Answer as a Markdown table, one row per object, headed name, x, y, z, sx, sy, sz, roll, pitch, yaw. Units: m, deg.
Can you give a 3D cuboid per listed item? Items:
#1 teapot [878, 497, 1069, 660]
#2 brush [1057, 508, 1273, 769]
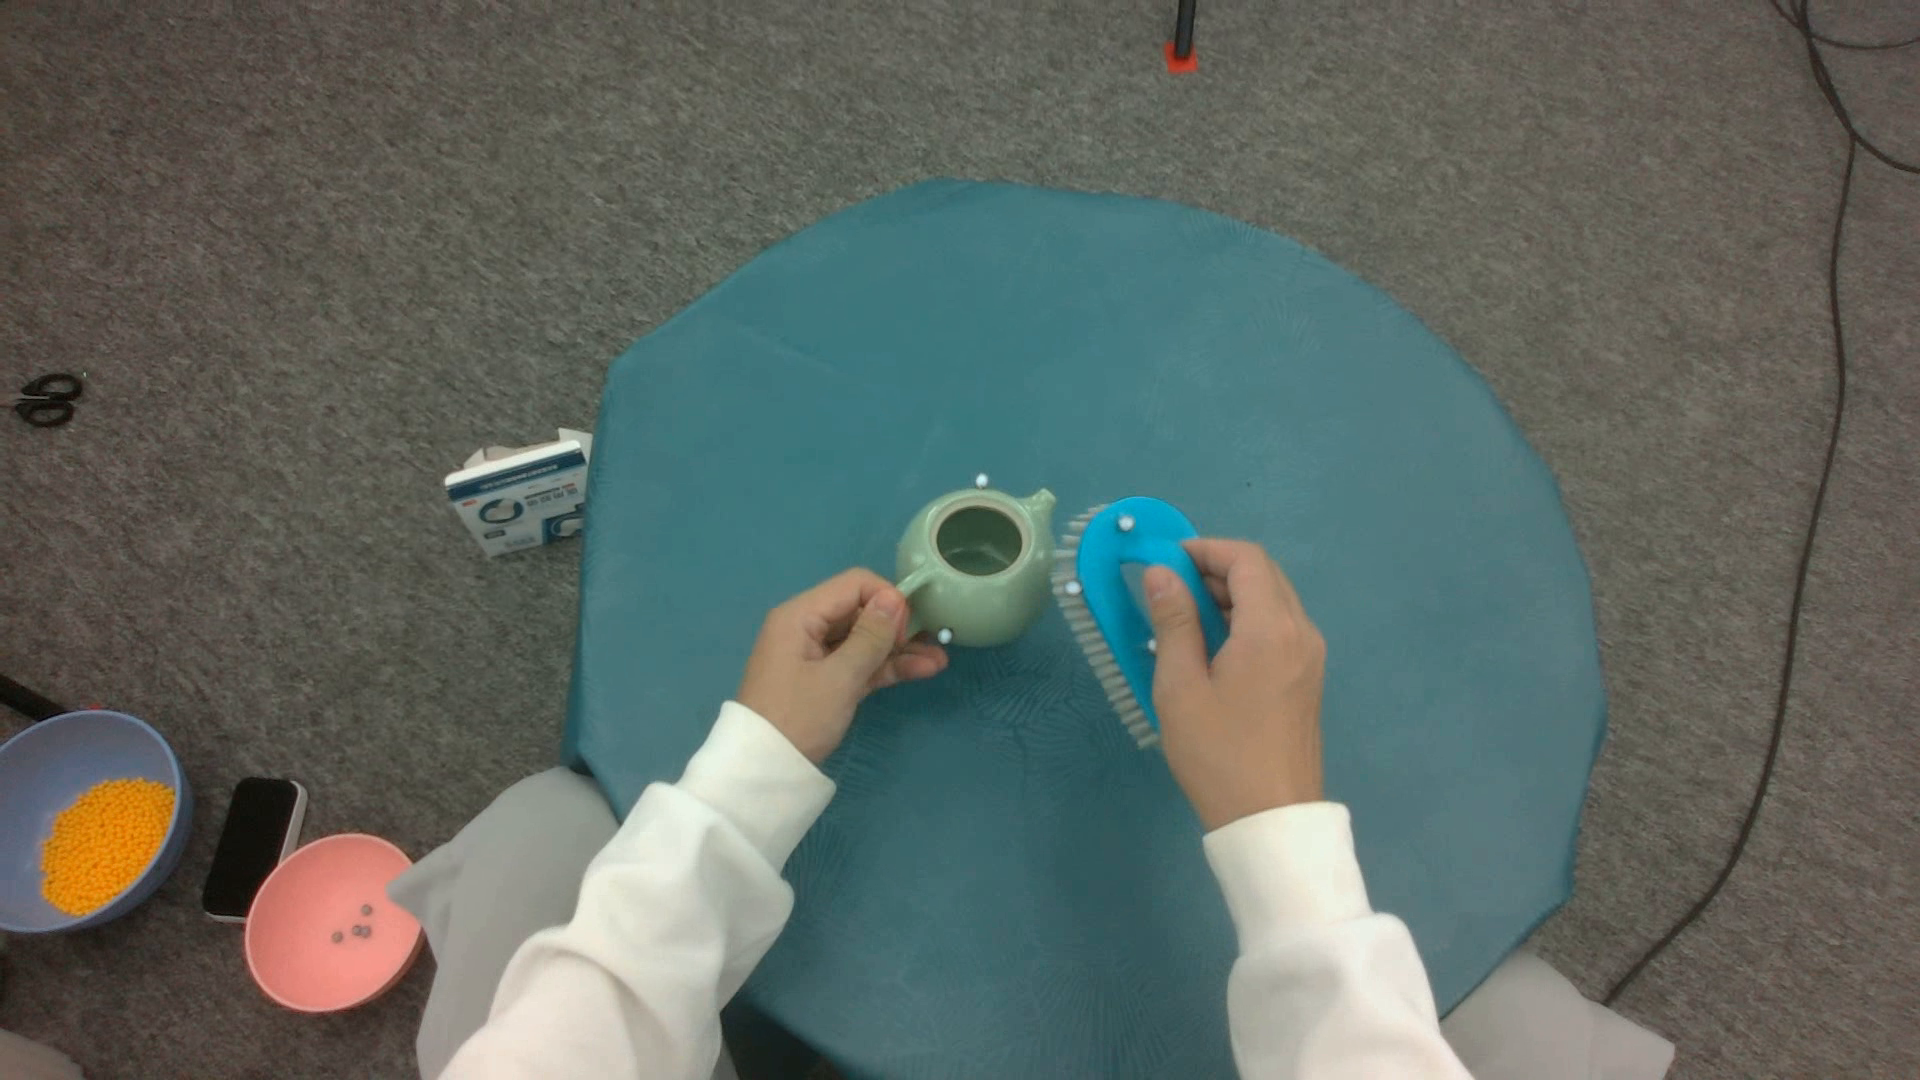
| name | x | y | z | sx | sy | sz | roll | pitch | yaw |
| --- | --- | --- | --- | --- | --- | --- | --- | --- | --- |
| teapot | 0.009 | 0.026 | 0.763 | 0.129 | 0.060 | 0.091 | -31 | 61 | -19 |
| brush | 0.113 | 0.046 | 0.693 | 0.084 | 0.063 | 0.142 | -29 | 93 | -28 |
